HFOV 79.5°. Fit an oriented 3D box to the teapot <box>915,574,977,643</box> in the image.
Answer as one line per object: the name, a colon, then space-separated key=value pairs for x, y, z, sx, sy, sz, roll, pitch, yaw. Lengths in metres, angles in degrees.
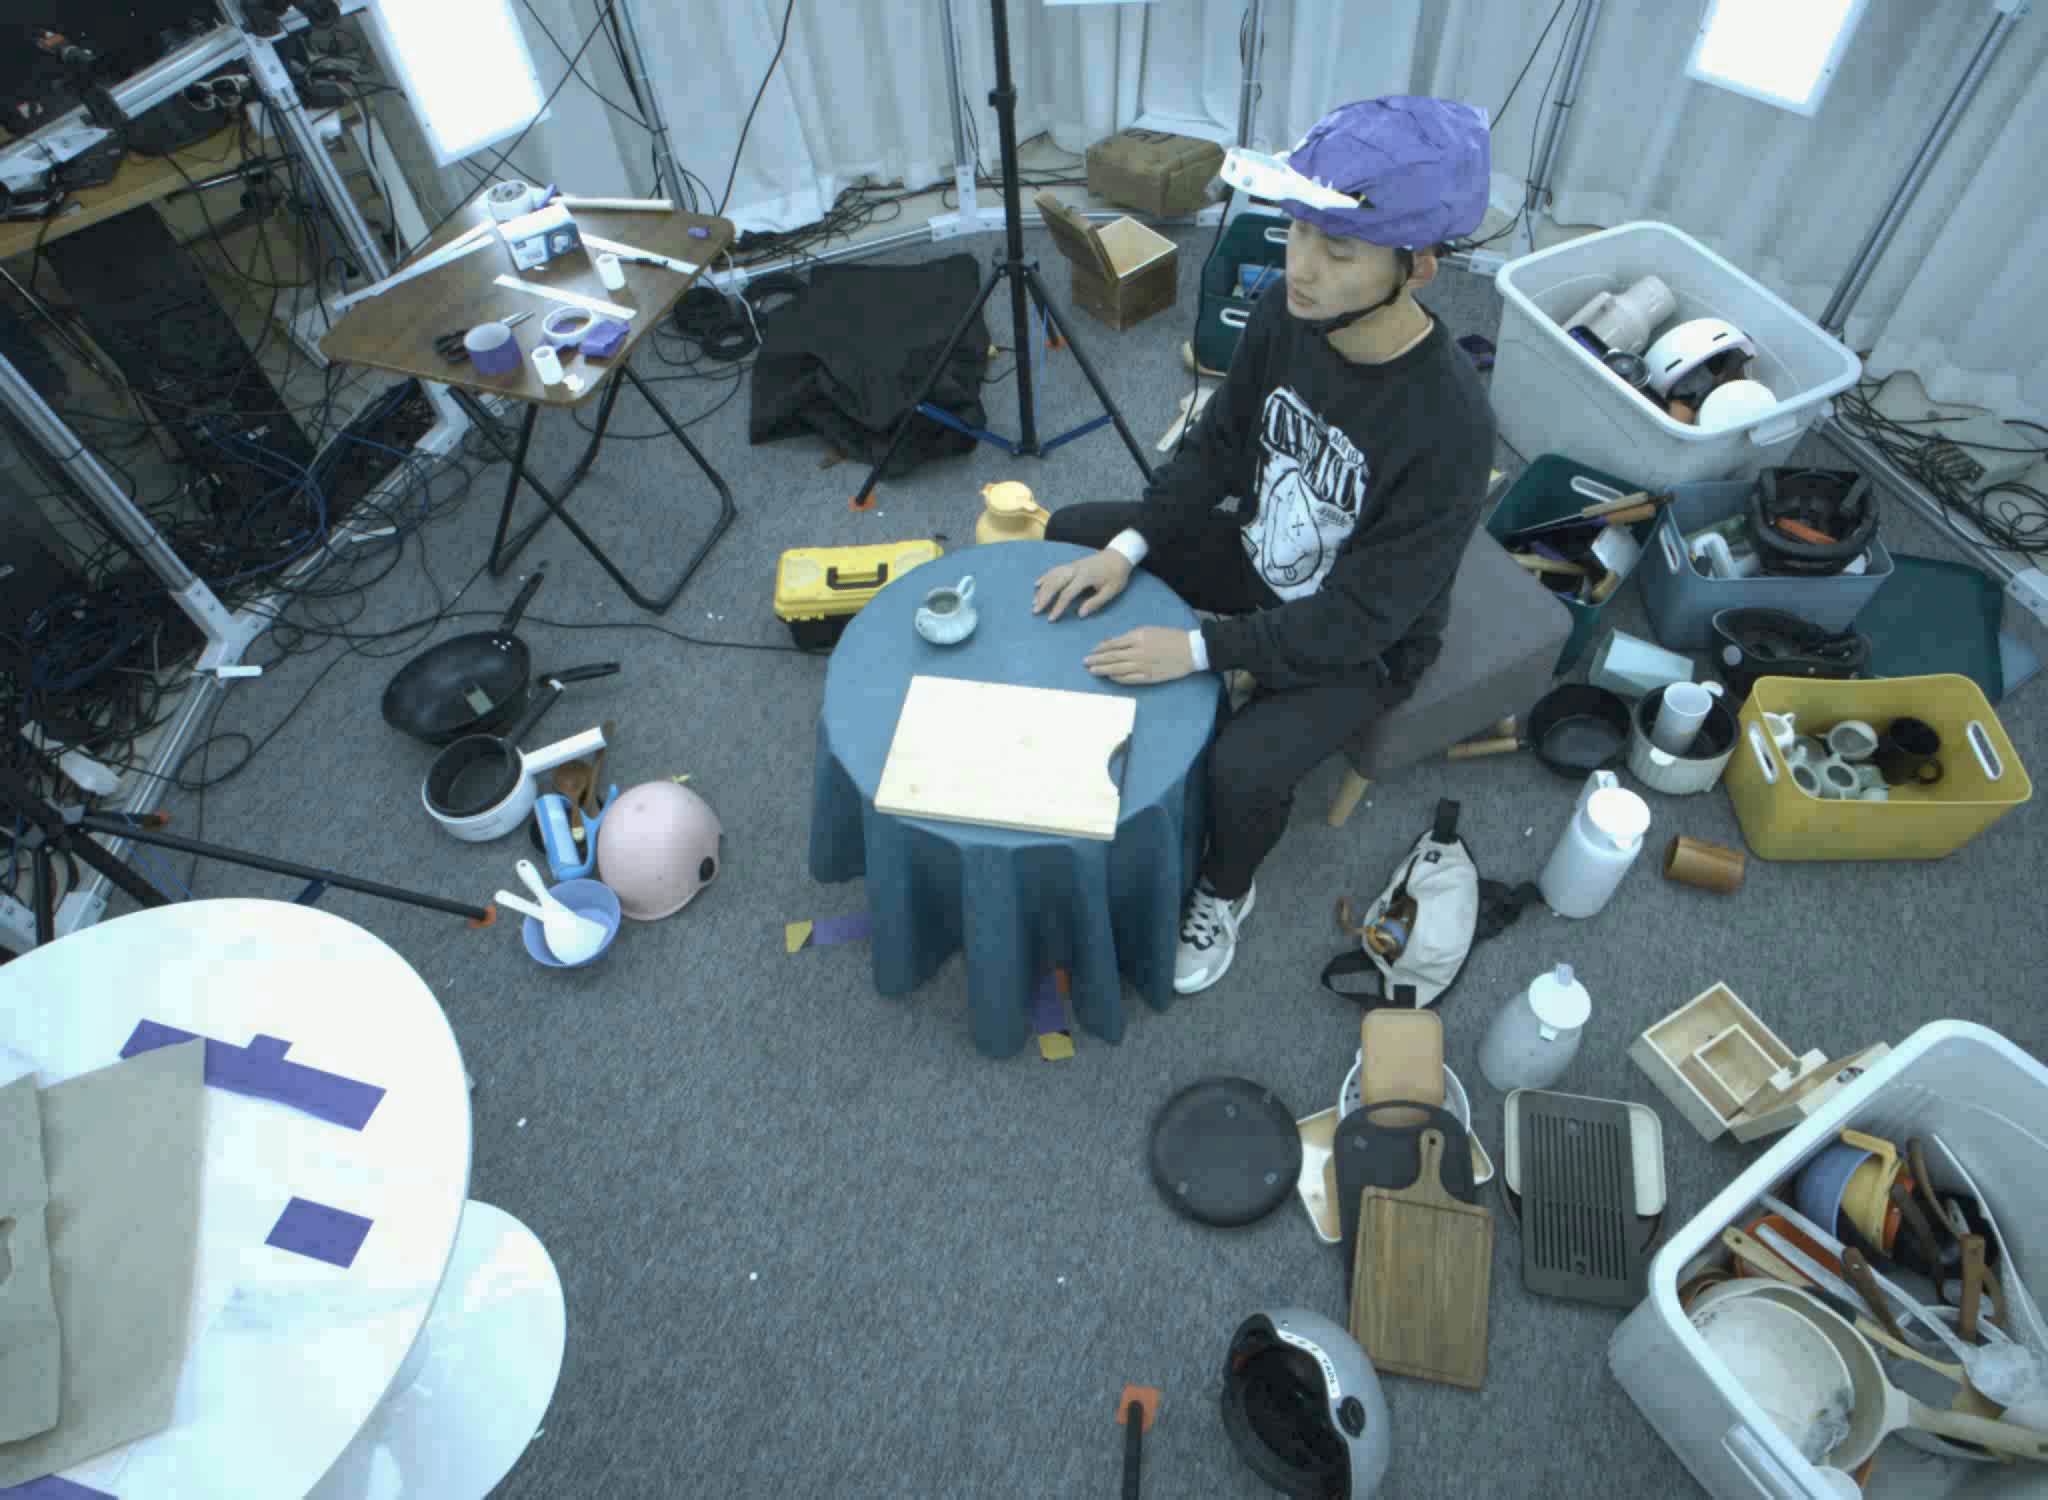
teapot: x=-0.121 y=-0.216 z=1.904 sx=0.094 sy=0.062 sz=0.137 roll=27 pitch=60 yaw=22

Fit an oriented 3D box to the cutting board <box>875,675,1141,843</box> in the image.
cutting board: x=-0.018 y=0.007 z=1.769 sx=0.347 sy=0.024 sz=0.249 roll=6 pitch=55 yaw=6
